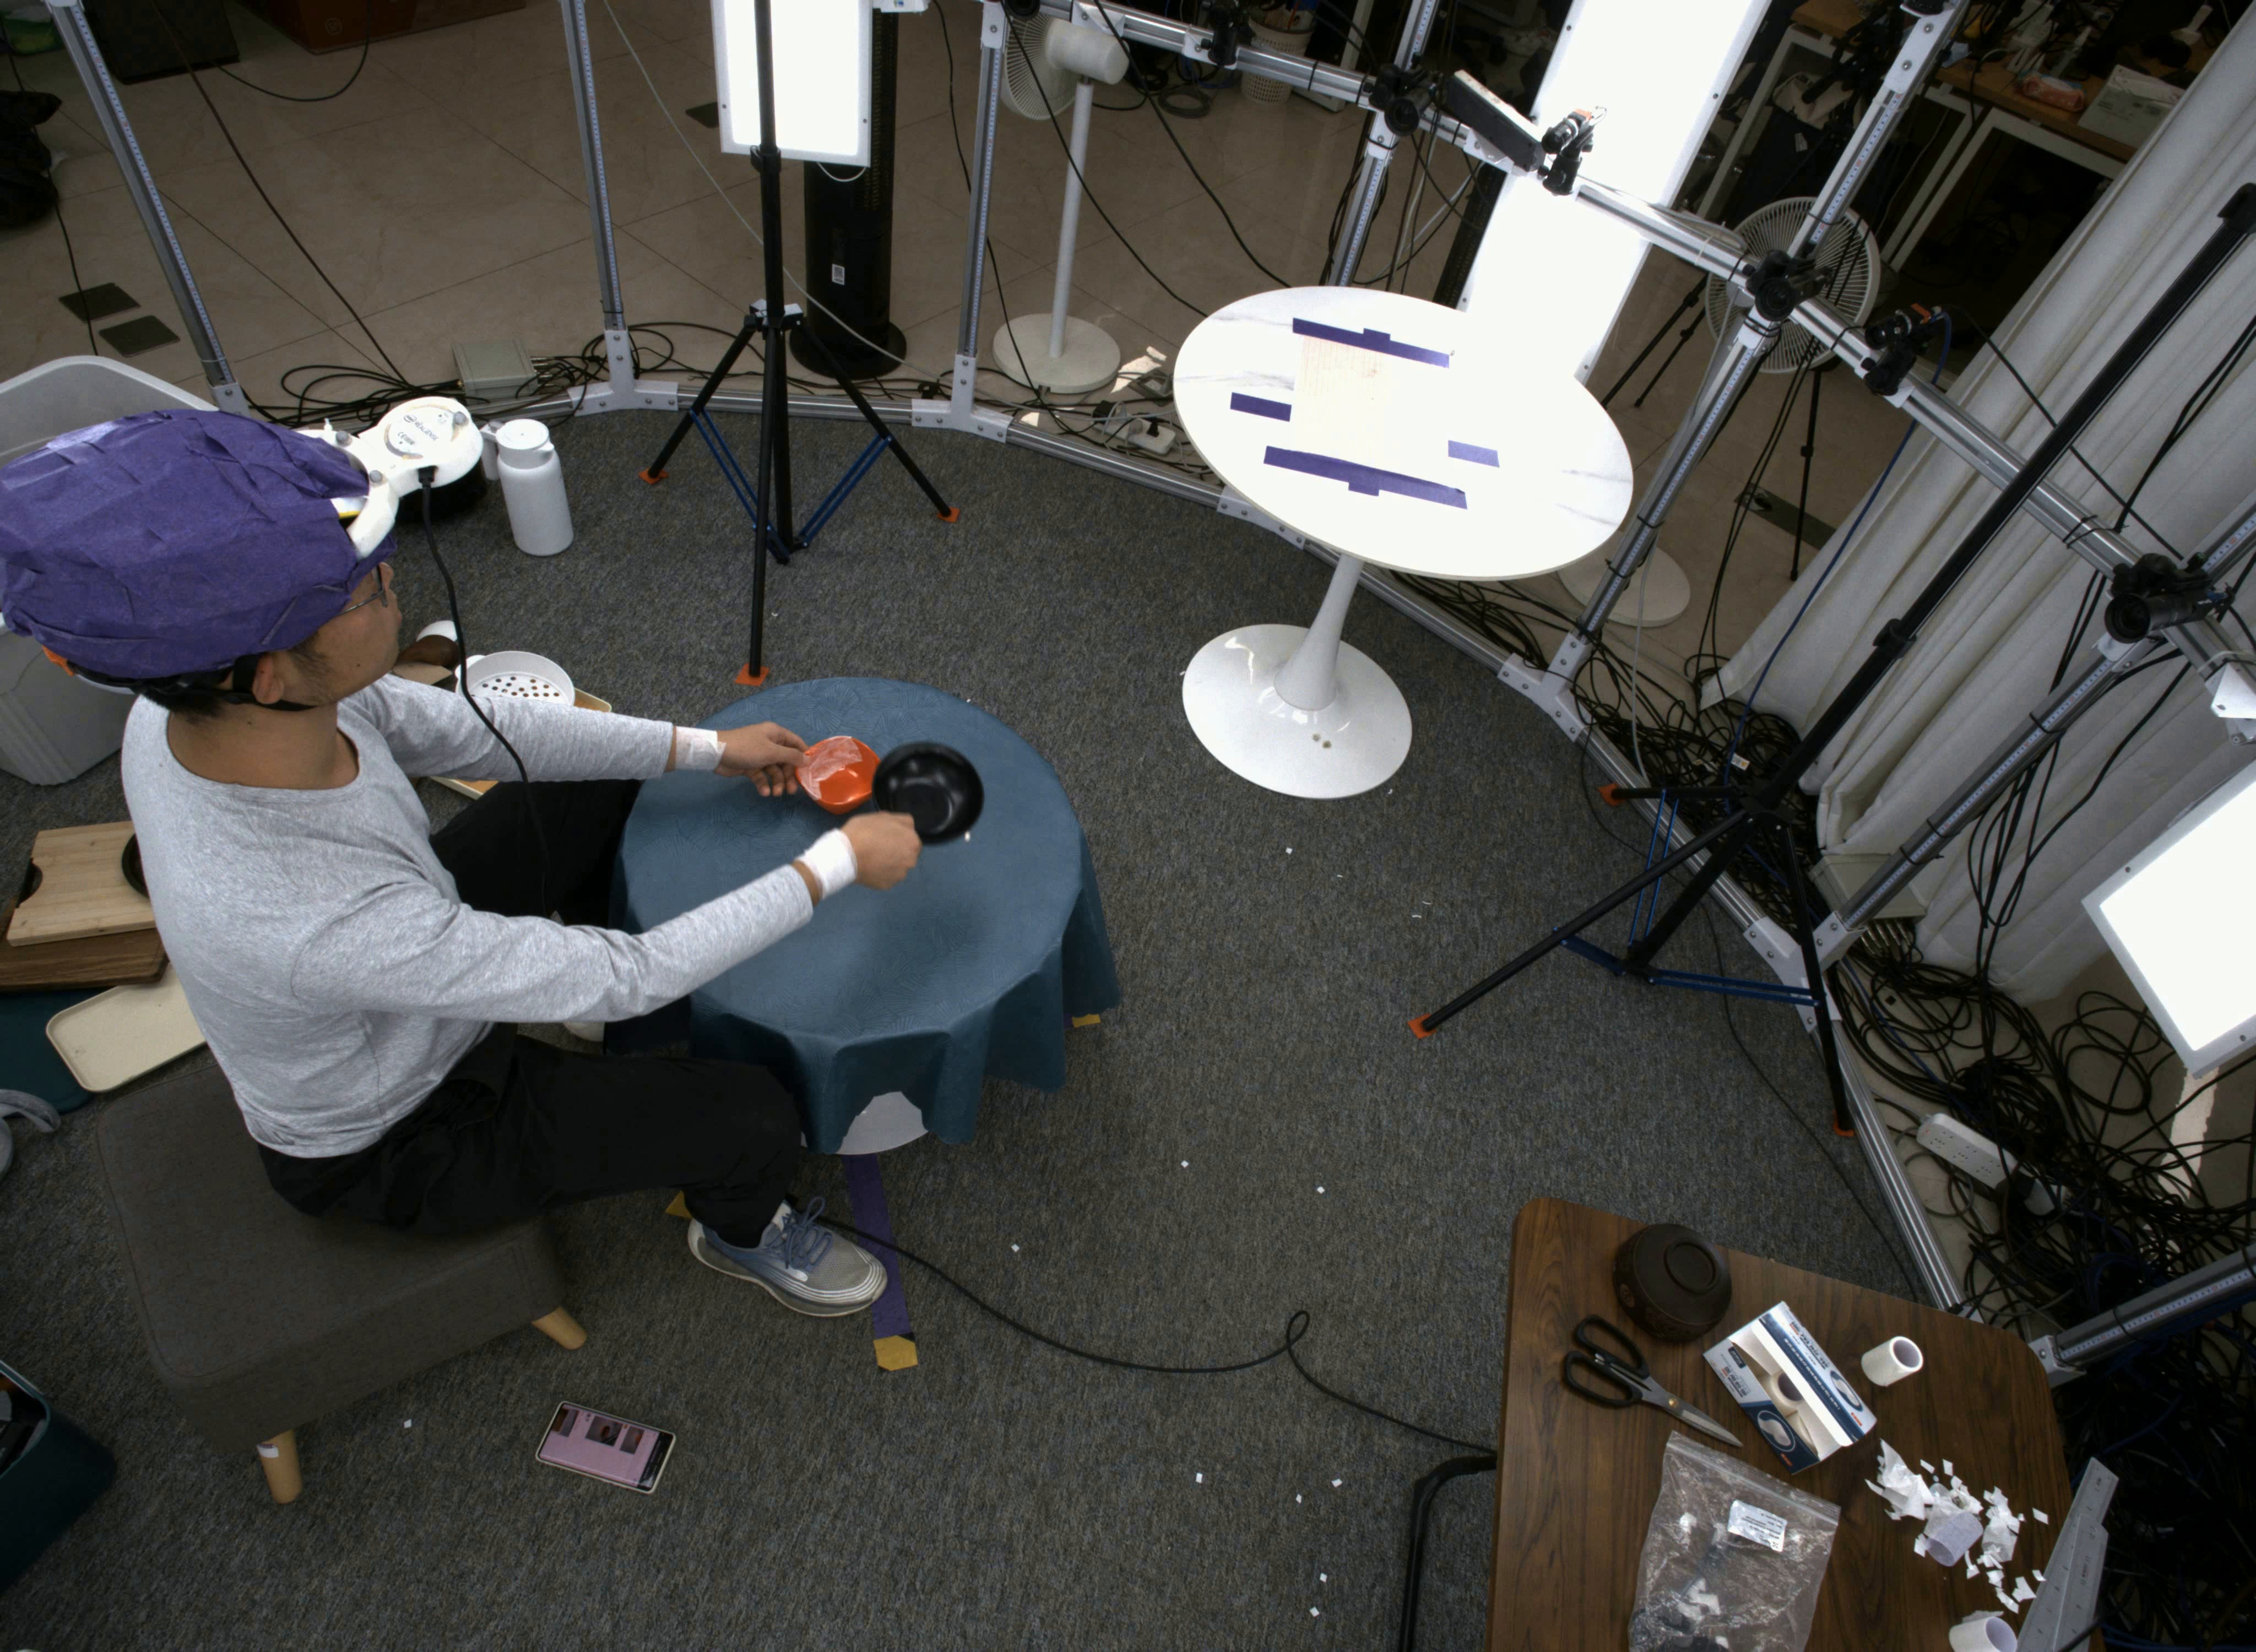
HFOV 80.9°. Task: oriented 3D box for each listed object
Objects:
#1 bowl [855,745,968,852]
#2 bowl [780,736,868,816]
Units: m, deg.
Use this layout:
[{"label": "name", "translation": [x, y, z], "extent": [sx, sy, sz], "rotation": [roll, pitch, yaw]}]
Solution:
[{"label": "bowl", "translation": [-0.270, -0.027, 1.606], "extent": [0.141, 0.050, 0.138], "rotation": [9, 65, -16]}, {"label": "bowl", "translation": [-0.409, -0.060, 1.749], "extent": [0.119, 0.052, 0.117], "rotation": [9, 51, -10]}]
